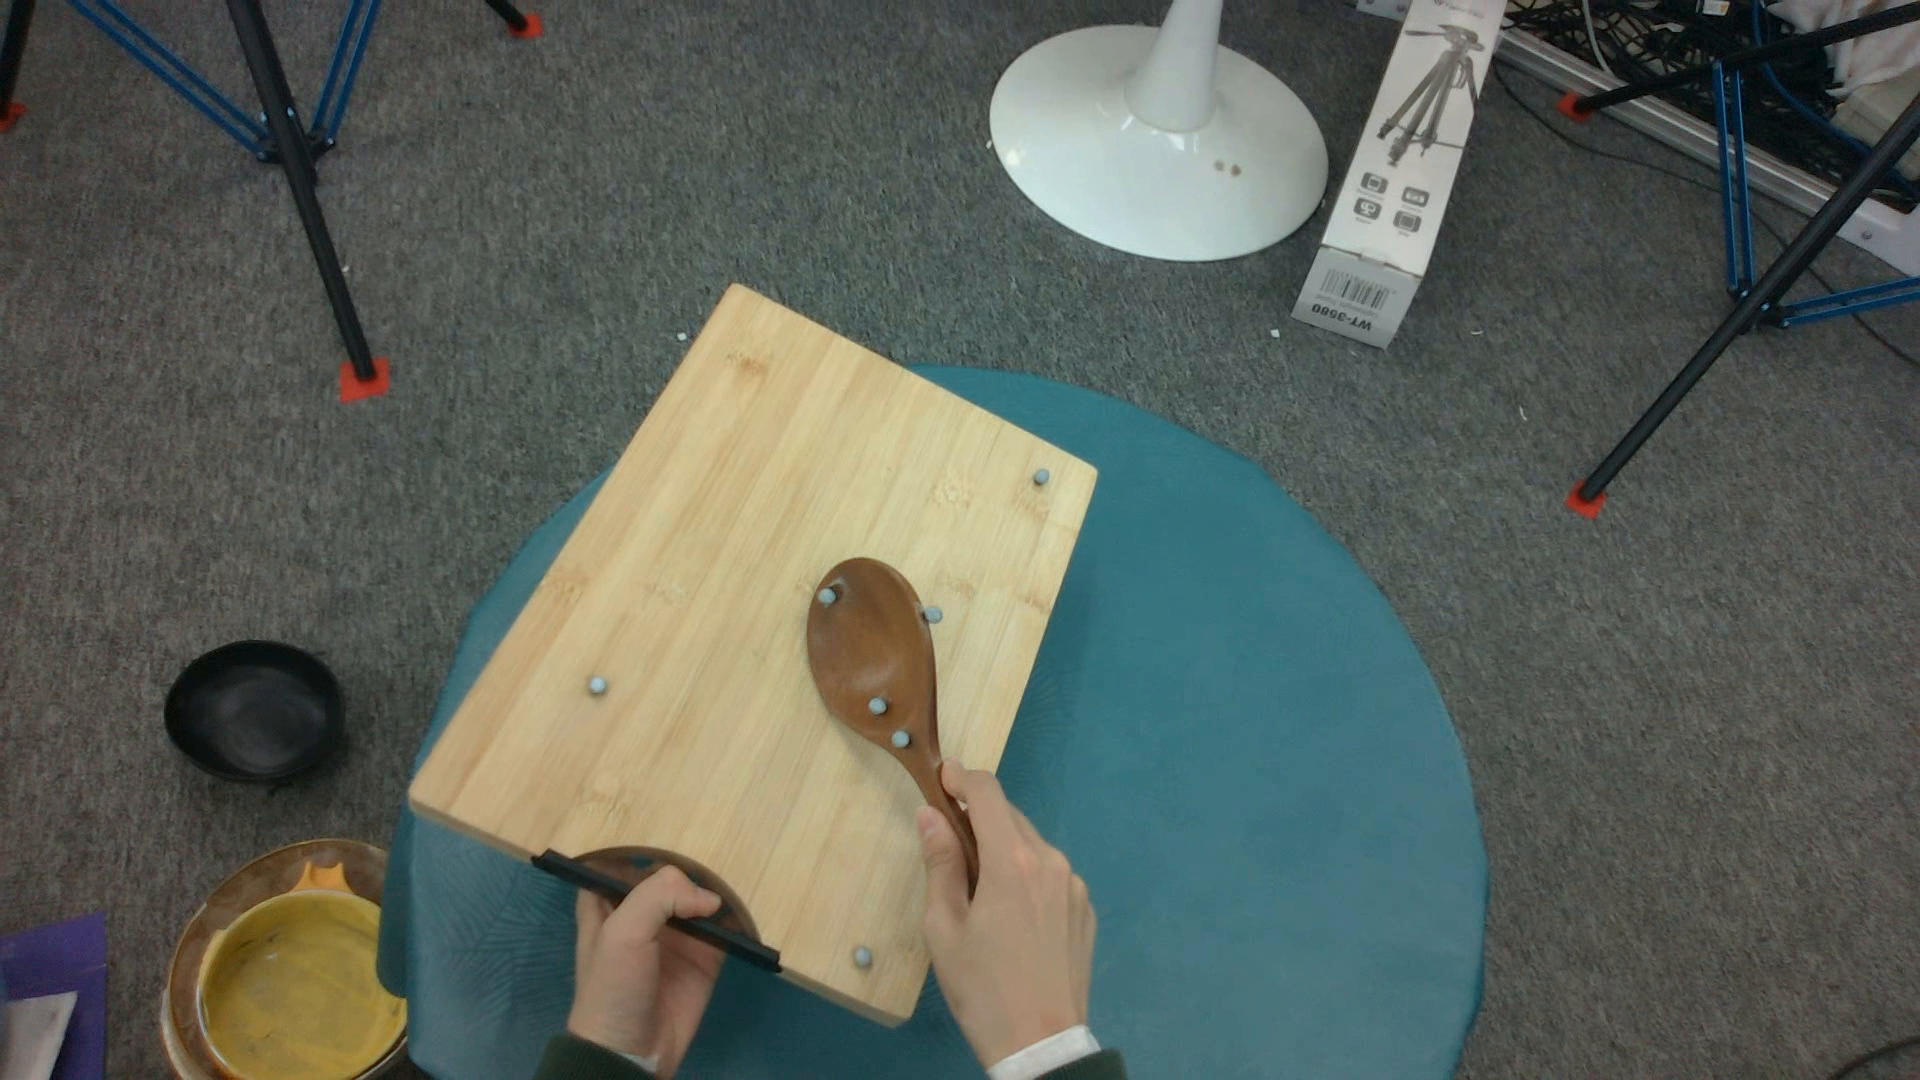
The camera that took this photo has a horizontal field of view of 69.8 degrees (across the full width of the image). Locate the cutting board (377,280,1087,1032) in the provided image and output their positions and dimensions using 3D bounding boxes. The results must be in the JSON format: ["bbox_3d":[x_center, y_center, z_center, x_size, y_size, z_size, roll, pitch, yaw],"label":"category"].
[{"bbox_3d":[-0.088,0.037,0.702,0.251,0.023,0.350,25,54,-6],"label":"cutting board"}]

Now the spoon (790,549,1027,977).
[{"bbox_3d":[-0.022,0.099,0.637,0.017,0.075,0.216,17,41,-55],"label":"spoon"}]
